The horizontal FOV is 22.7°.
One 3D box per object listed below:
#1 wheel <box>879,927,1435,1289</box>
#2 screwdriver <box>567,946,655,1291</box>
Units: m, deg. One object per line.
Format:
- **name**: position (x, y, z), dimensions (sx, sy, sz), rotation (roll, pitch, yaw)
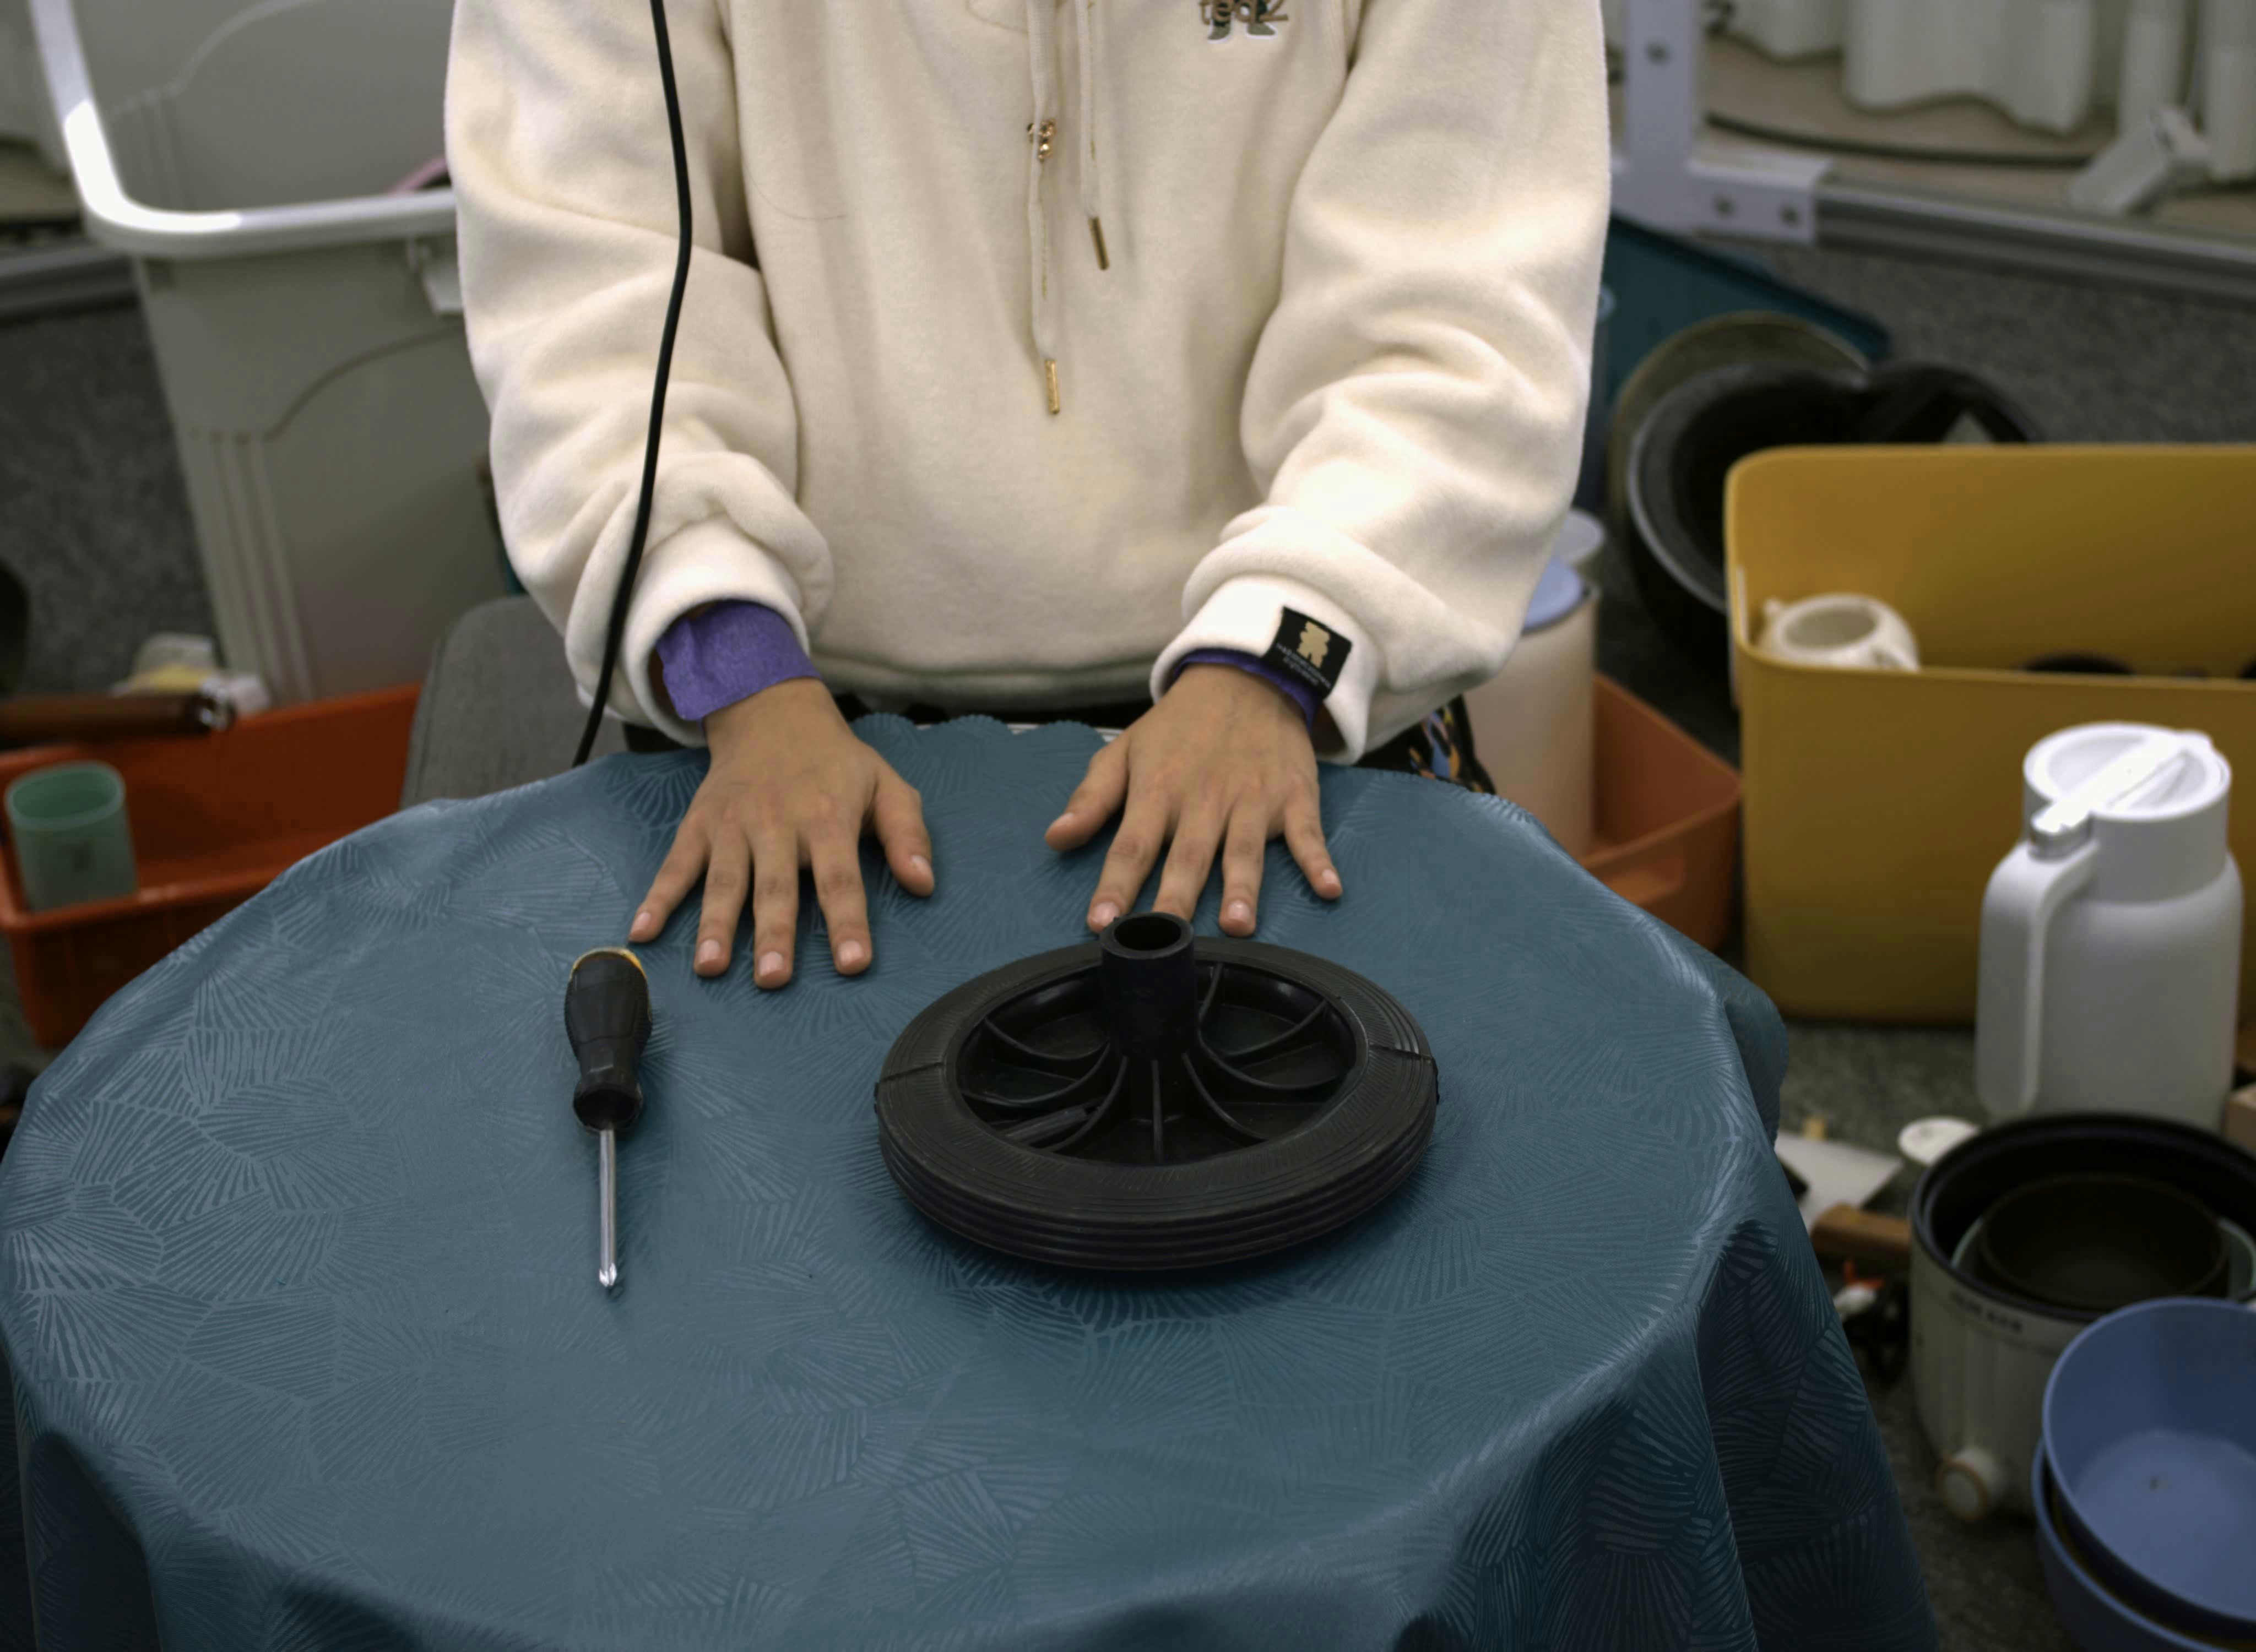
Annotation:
- **wheel**: position (0.007, 0.076, 1.868), dimensions (0.186, 0.078, 0.193), rotation (16, 35, 32)
- **screwdriver**: position (-0.172, 0.098, 1.898), dimensions (0.031, 0.031, 0.199), rotation (-5, 30, -5)
